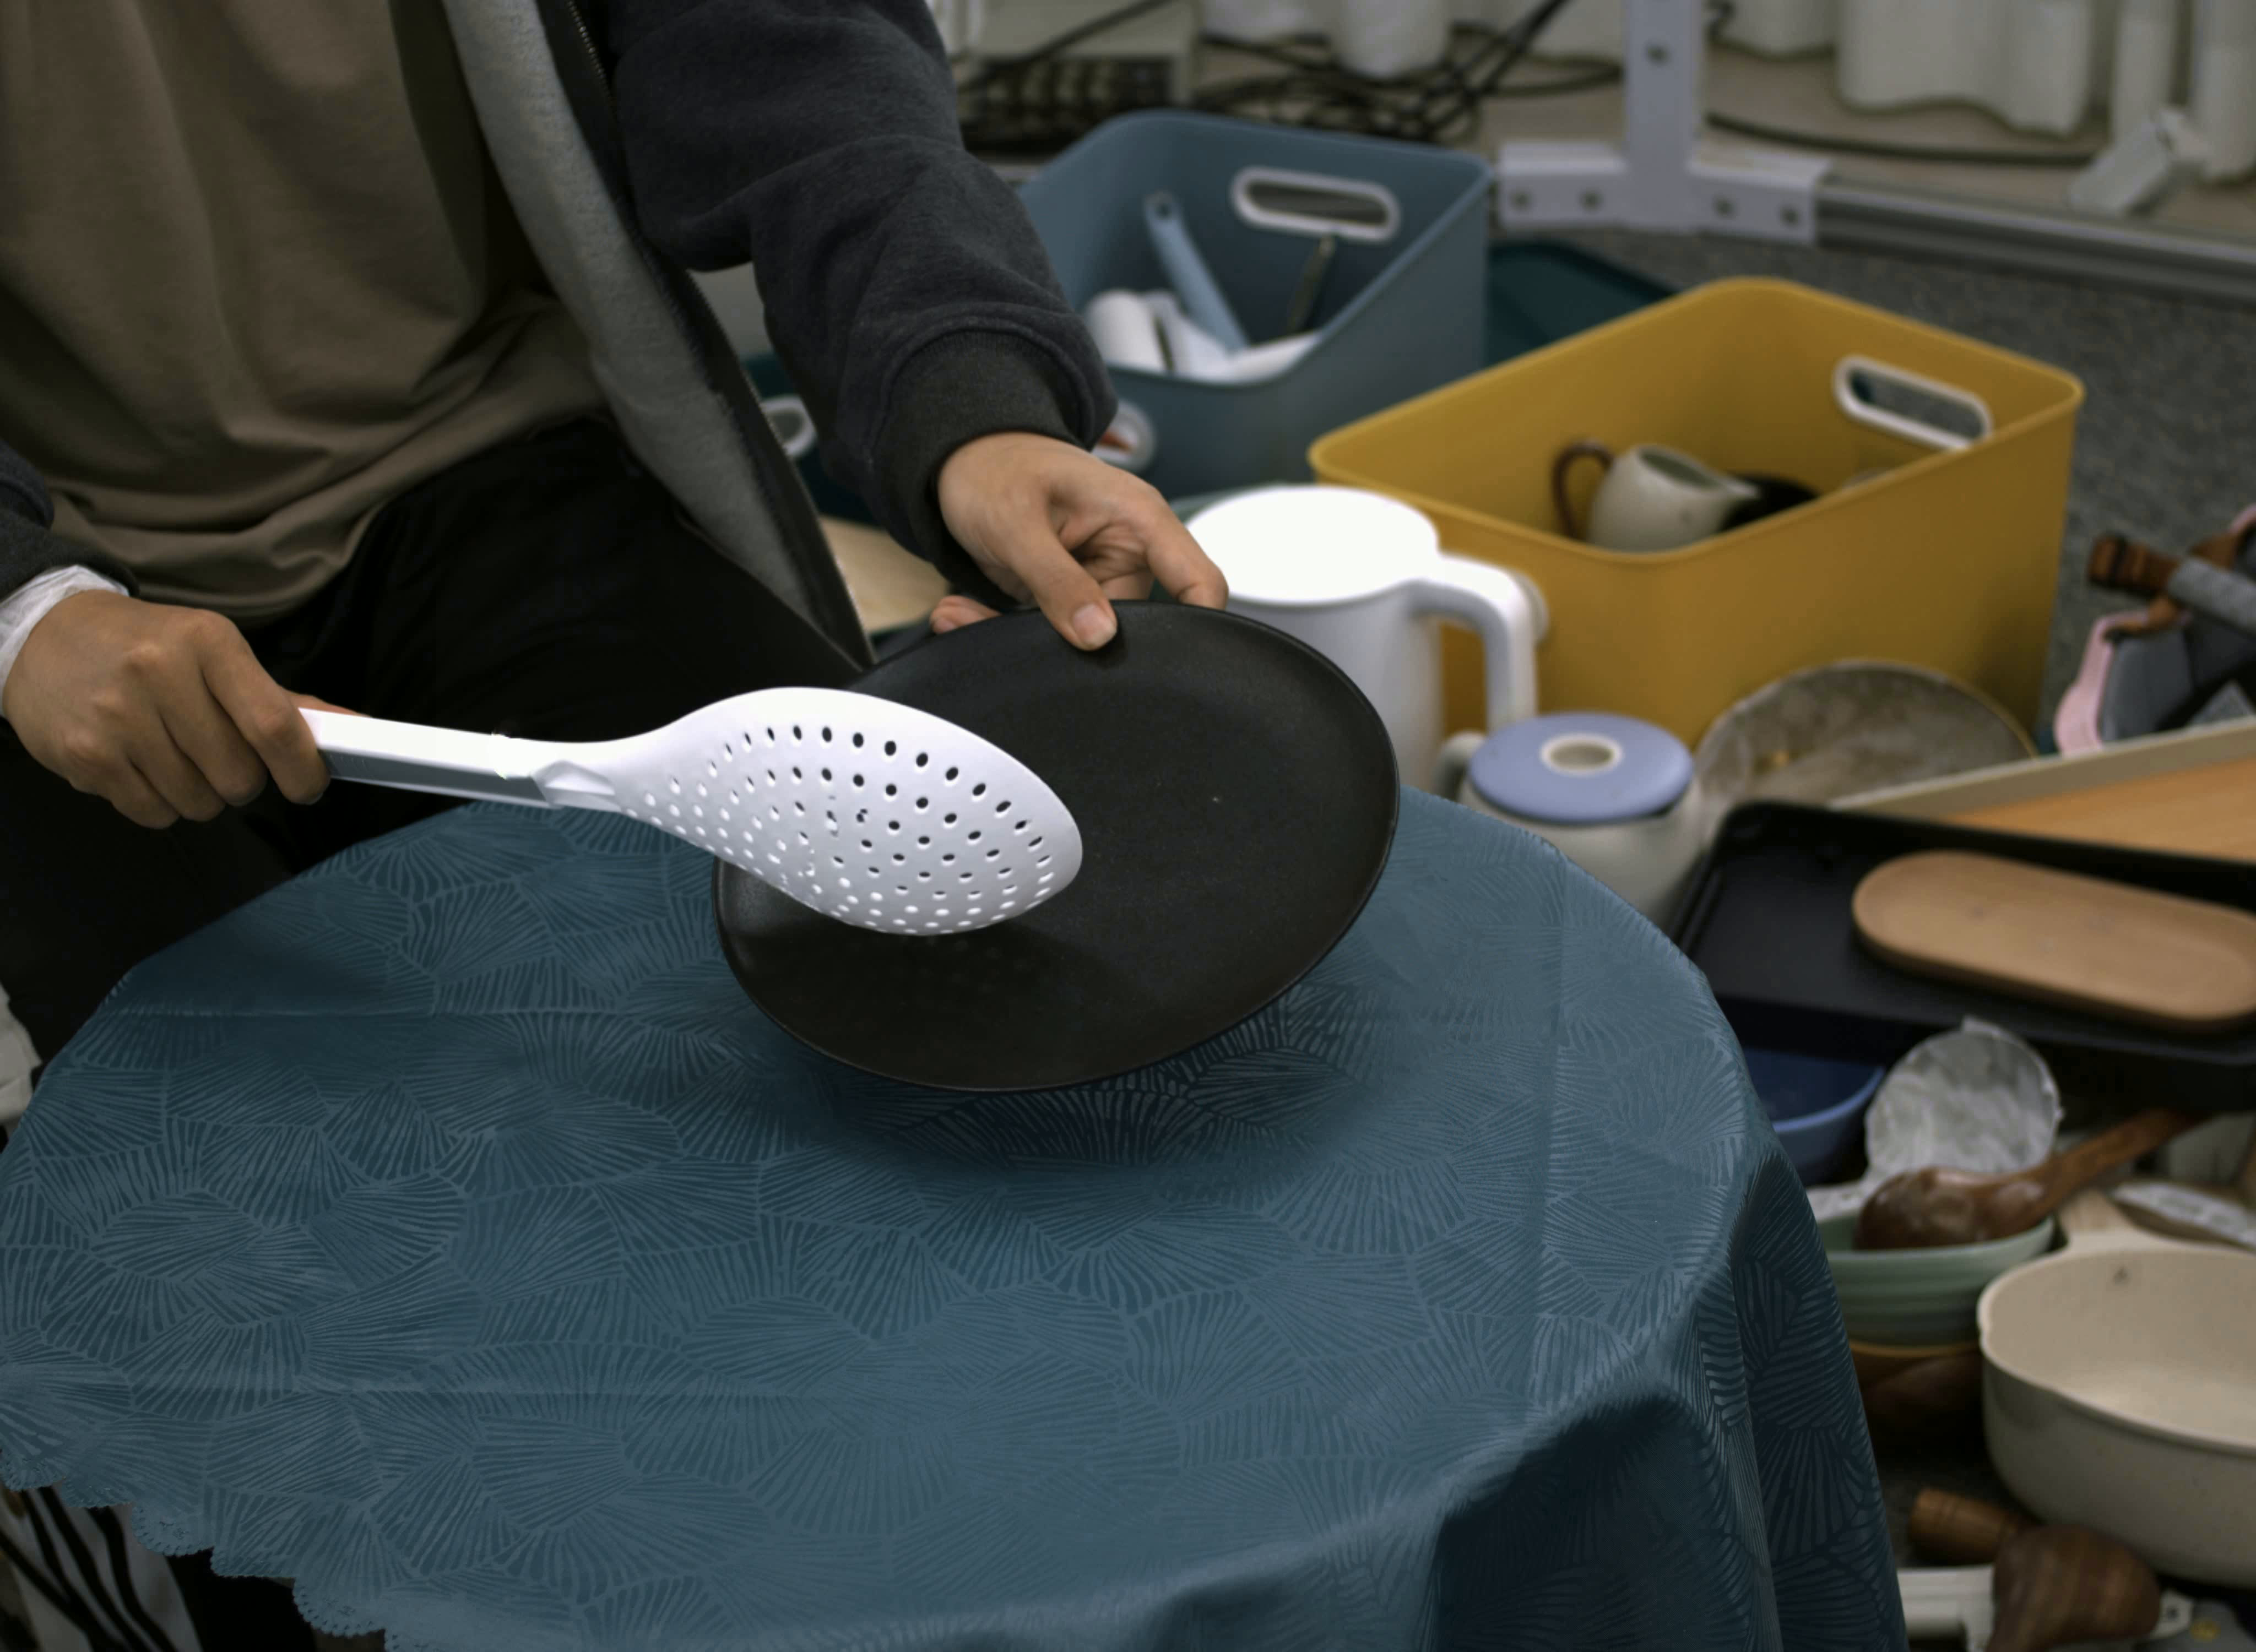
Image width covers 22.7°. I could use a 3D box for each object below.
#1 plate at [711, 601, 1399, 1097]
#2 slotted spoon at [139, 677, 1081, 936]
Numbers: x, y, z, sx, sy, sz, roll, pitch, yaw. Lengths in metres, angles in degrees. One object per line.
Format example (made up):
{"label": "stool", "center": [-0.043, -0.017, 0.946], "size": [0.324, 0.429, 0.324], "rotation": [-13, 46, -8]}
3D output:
{"label": "plate", "center": [-0.024, 0.011, 1.947], "size": [0.243, 0.023, 0.249], "rotation": [-7, 42, 6]}
{"label": "slotted spoon", "center": [-0.182, -0.017, 1.918], "size": [0.348, 0.134, 0.046], "rotation": [12, 59, 22]}
